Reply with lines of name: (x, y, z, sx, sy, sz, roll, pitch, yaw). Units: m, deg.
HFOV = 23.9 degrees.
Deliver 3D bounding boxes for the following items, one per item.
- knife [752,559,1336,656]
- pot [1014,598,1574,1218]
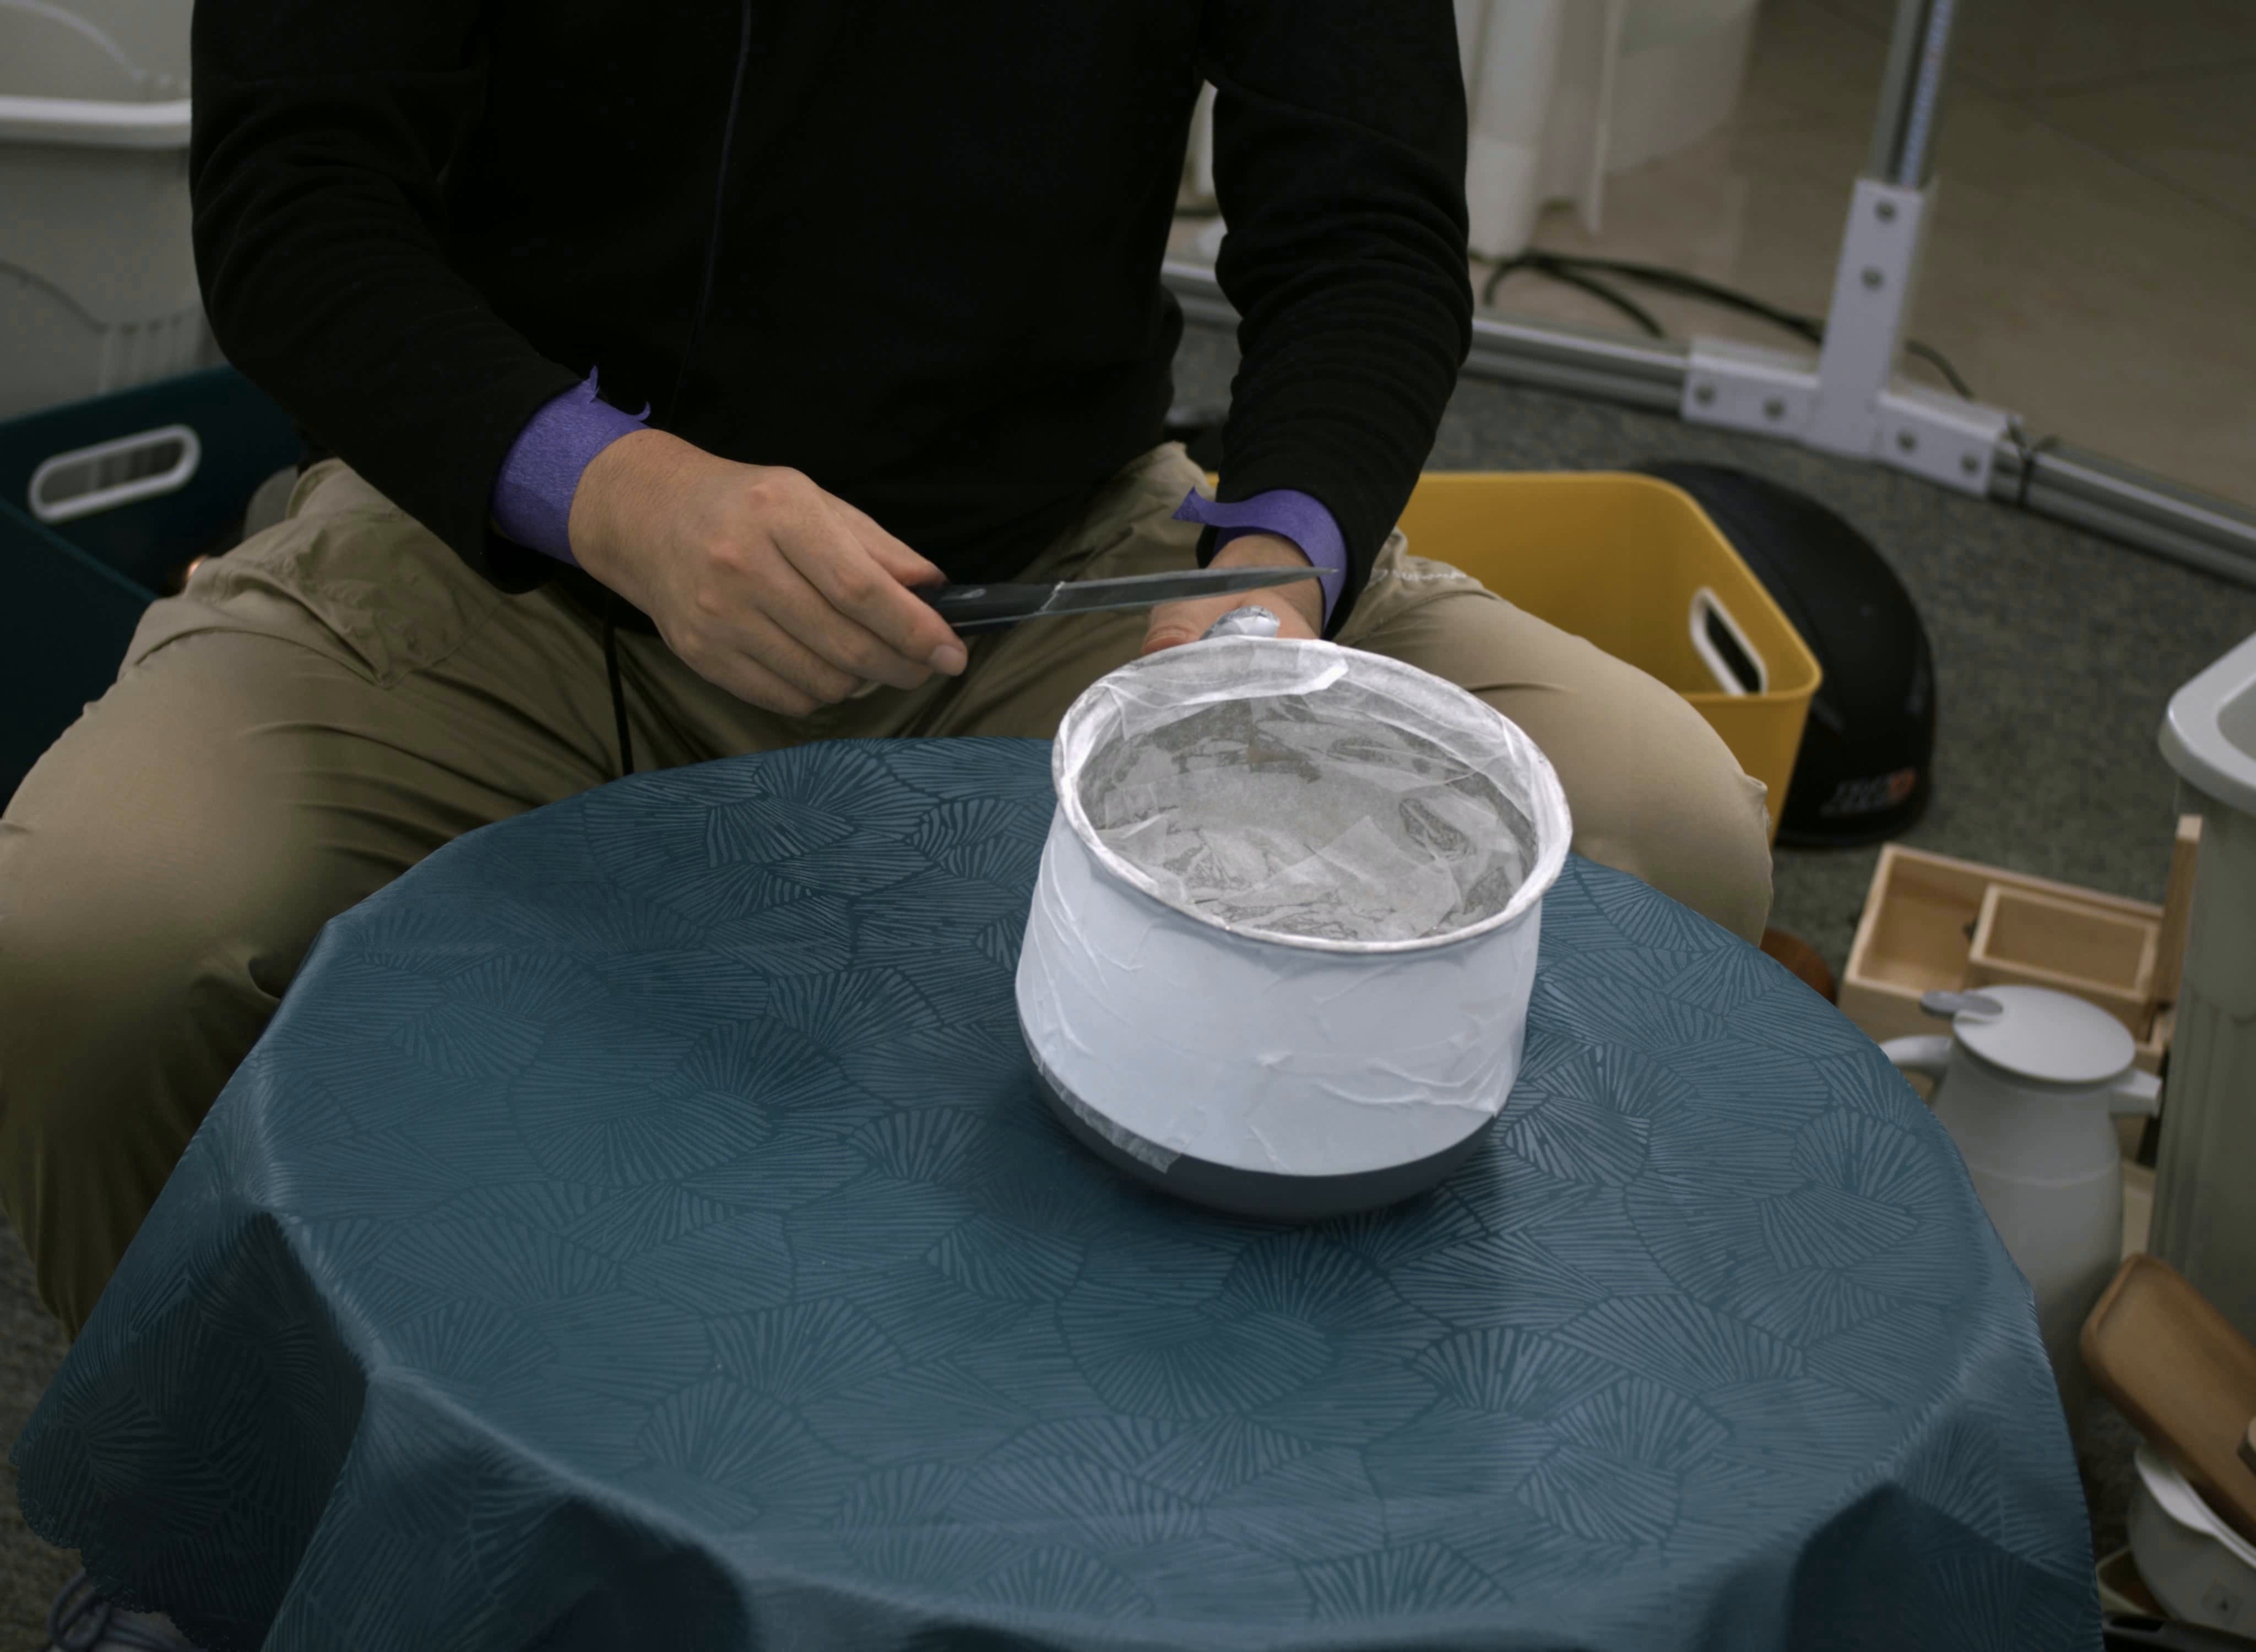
knife: (-0.033, -0.078, 1.851, 0.239, 0.016, 0.024, -5, 30, 31)
pot: (0.047, 0.019, 1.840, 0.178, 0.136, 0.236, 0, 37, -14)
